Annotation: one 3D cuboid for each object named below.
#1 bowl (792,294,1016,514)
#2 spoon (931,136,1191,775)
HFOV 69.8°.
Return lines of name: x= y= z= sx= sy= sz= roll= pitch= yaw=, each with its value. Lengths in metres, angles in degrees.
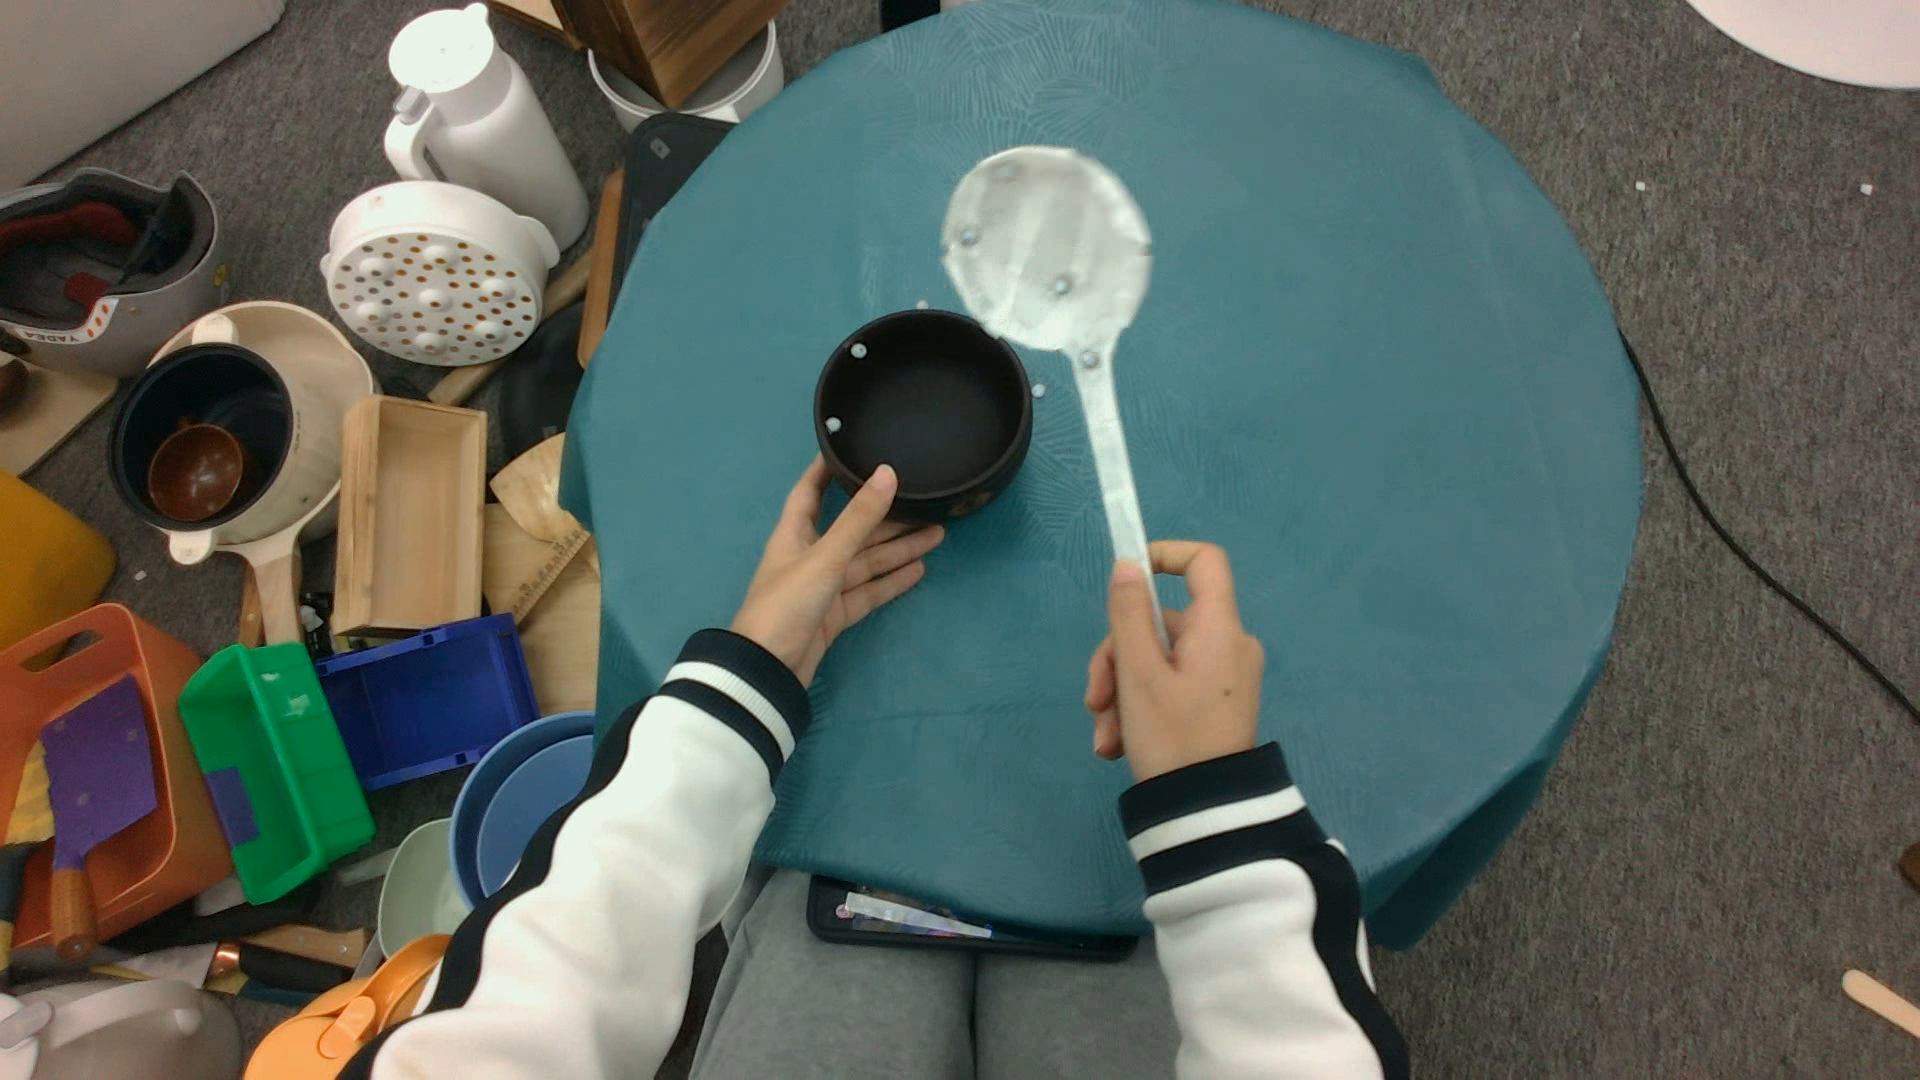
bowl: x=-0.029 y=-0.067 z=0.749 sx=0.118 sy=0.069 sz=0.118 roll=-1 pitch=68 yaw=2
spoon: x=0.047 y=-0.034 z=0.590 sx=0.100 sy=0.059 sz=0.278 roll=-18 pitch=78 yaw=36
